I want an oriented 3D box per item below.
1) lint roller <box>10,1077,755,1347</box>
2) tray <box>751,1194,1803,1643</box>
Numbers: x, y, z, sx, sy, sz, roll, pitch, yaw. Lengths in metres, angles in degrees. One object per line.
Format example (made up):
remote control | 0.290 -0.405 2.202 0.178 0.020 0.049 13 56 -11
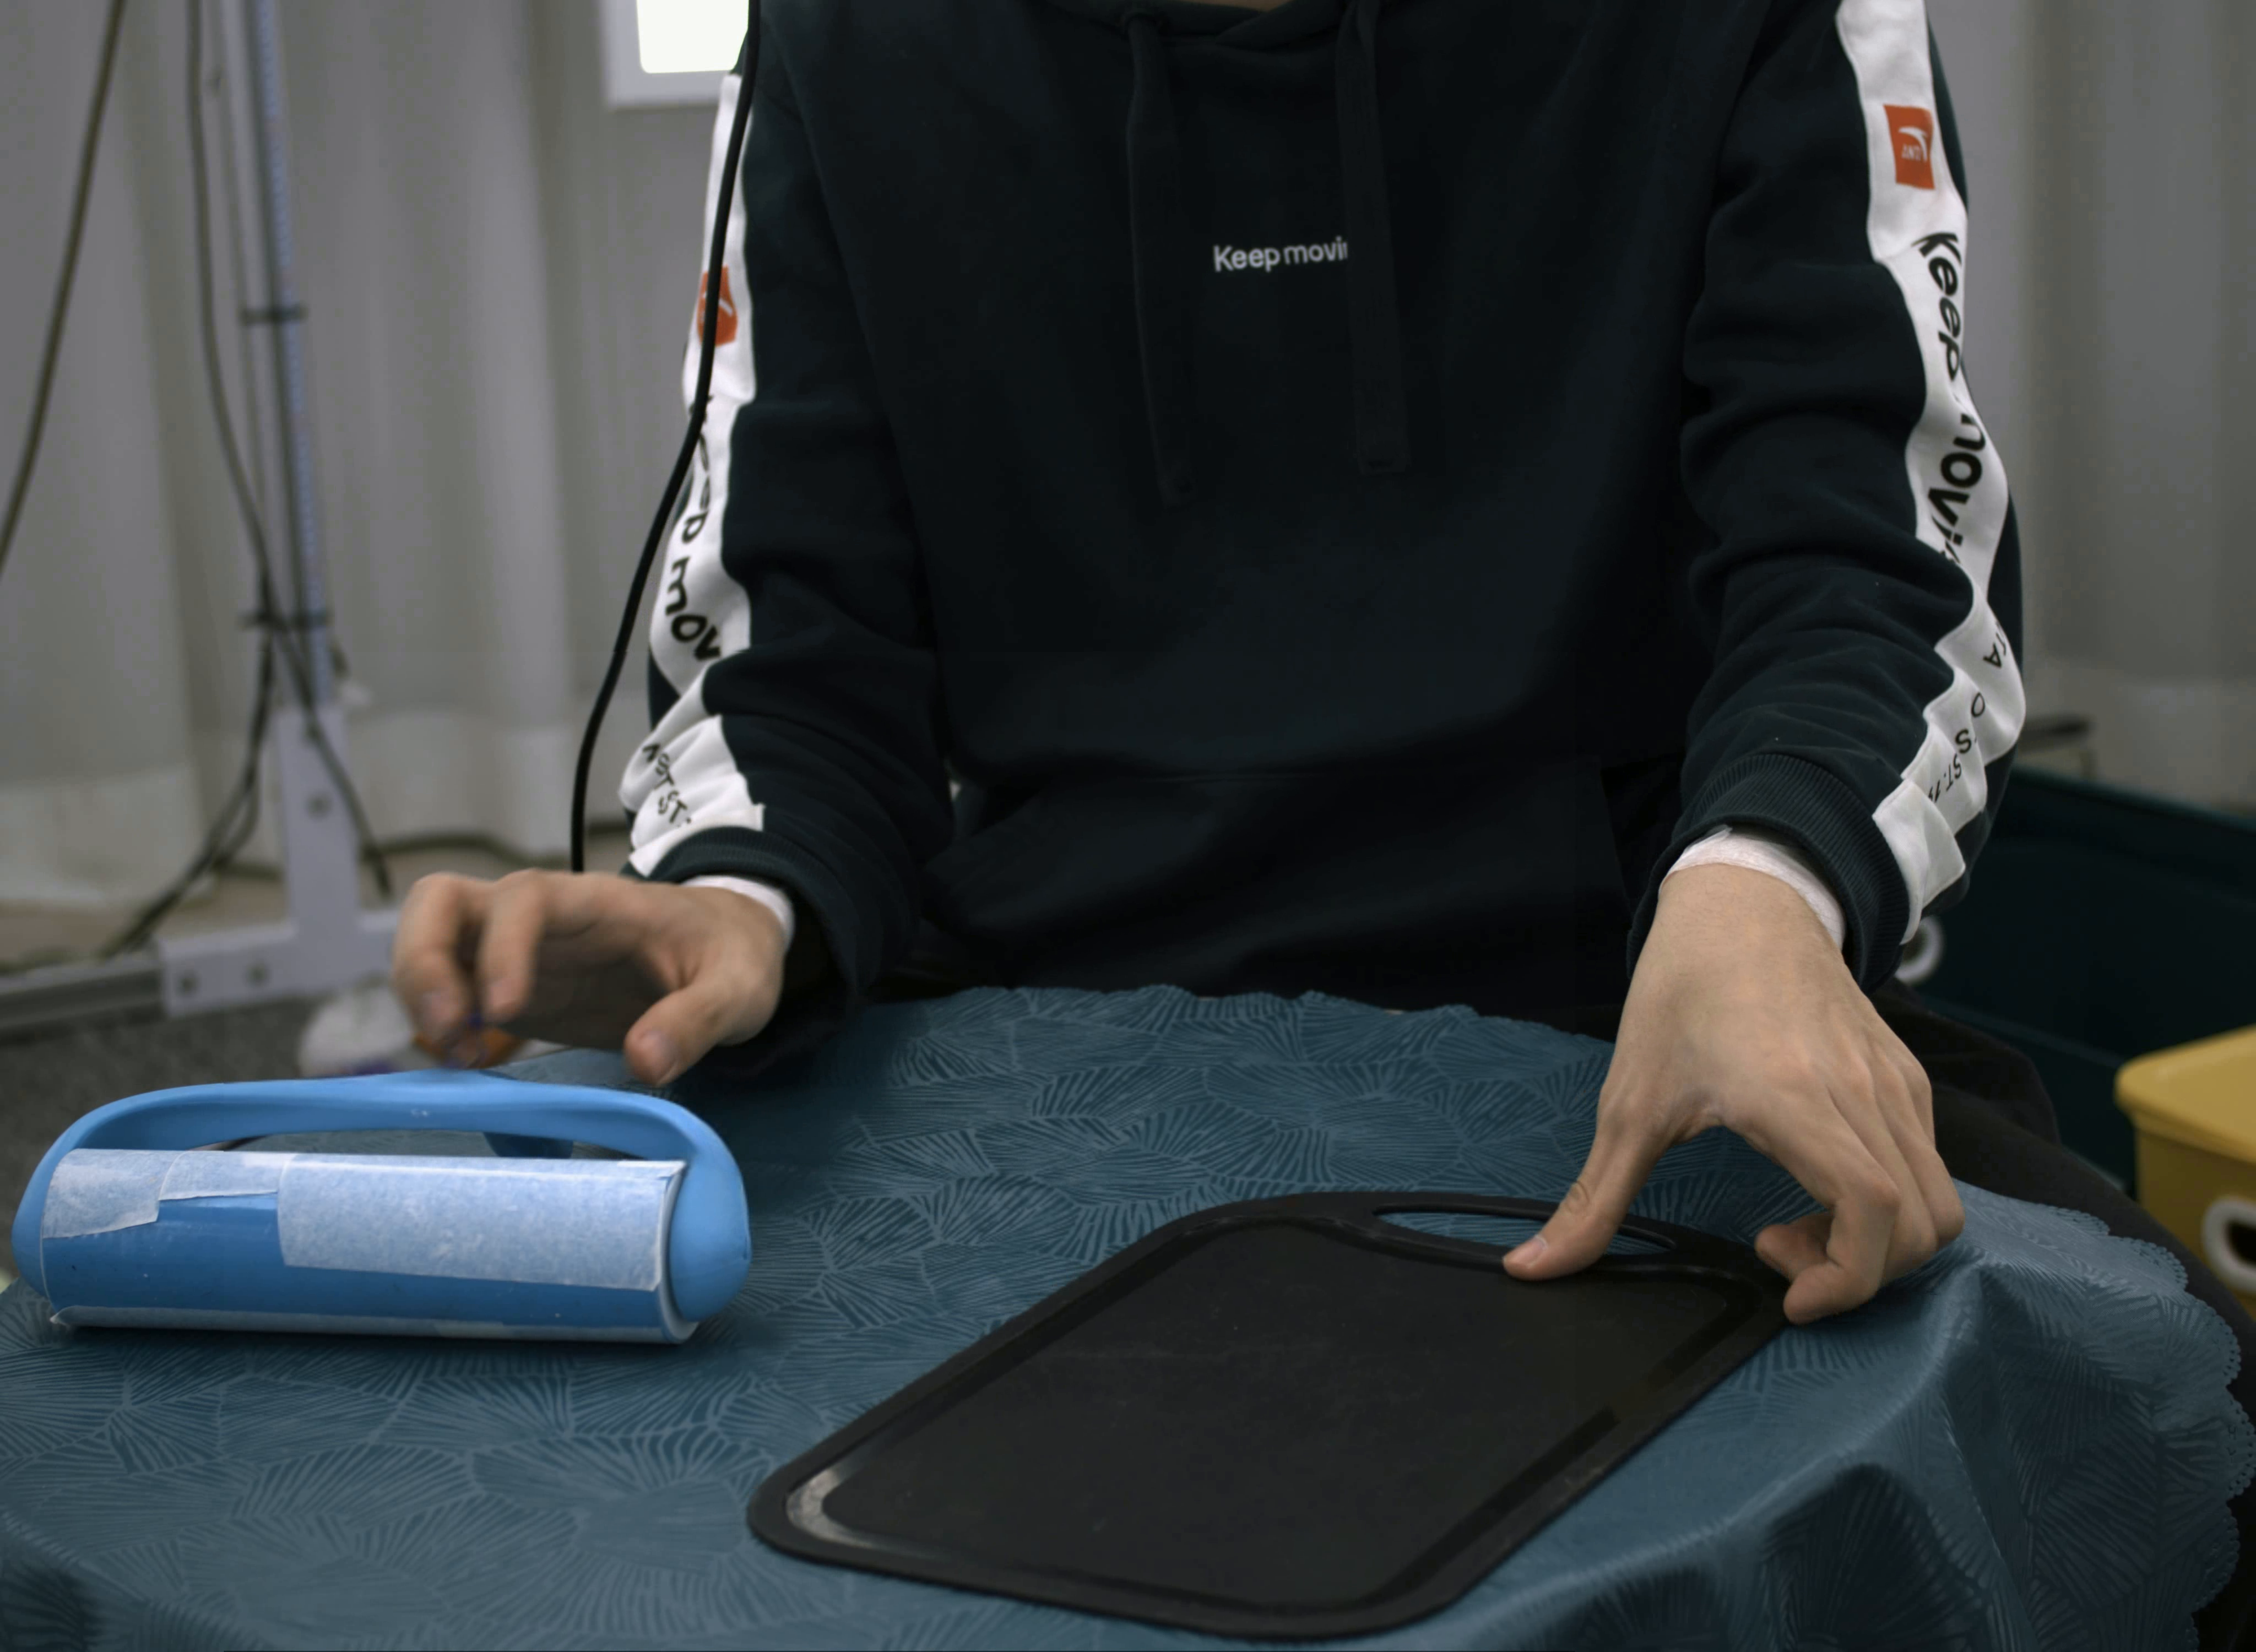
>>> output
lint roller | -0.212 0.108 1.675 0.228 0.067 0.181 -2 16 11
tray | 0.051 0.156 1.536 0.211 0.010 0.326 6 17 30
